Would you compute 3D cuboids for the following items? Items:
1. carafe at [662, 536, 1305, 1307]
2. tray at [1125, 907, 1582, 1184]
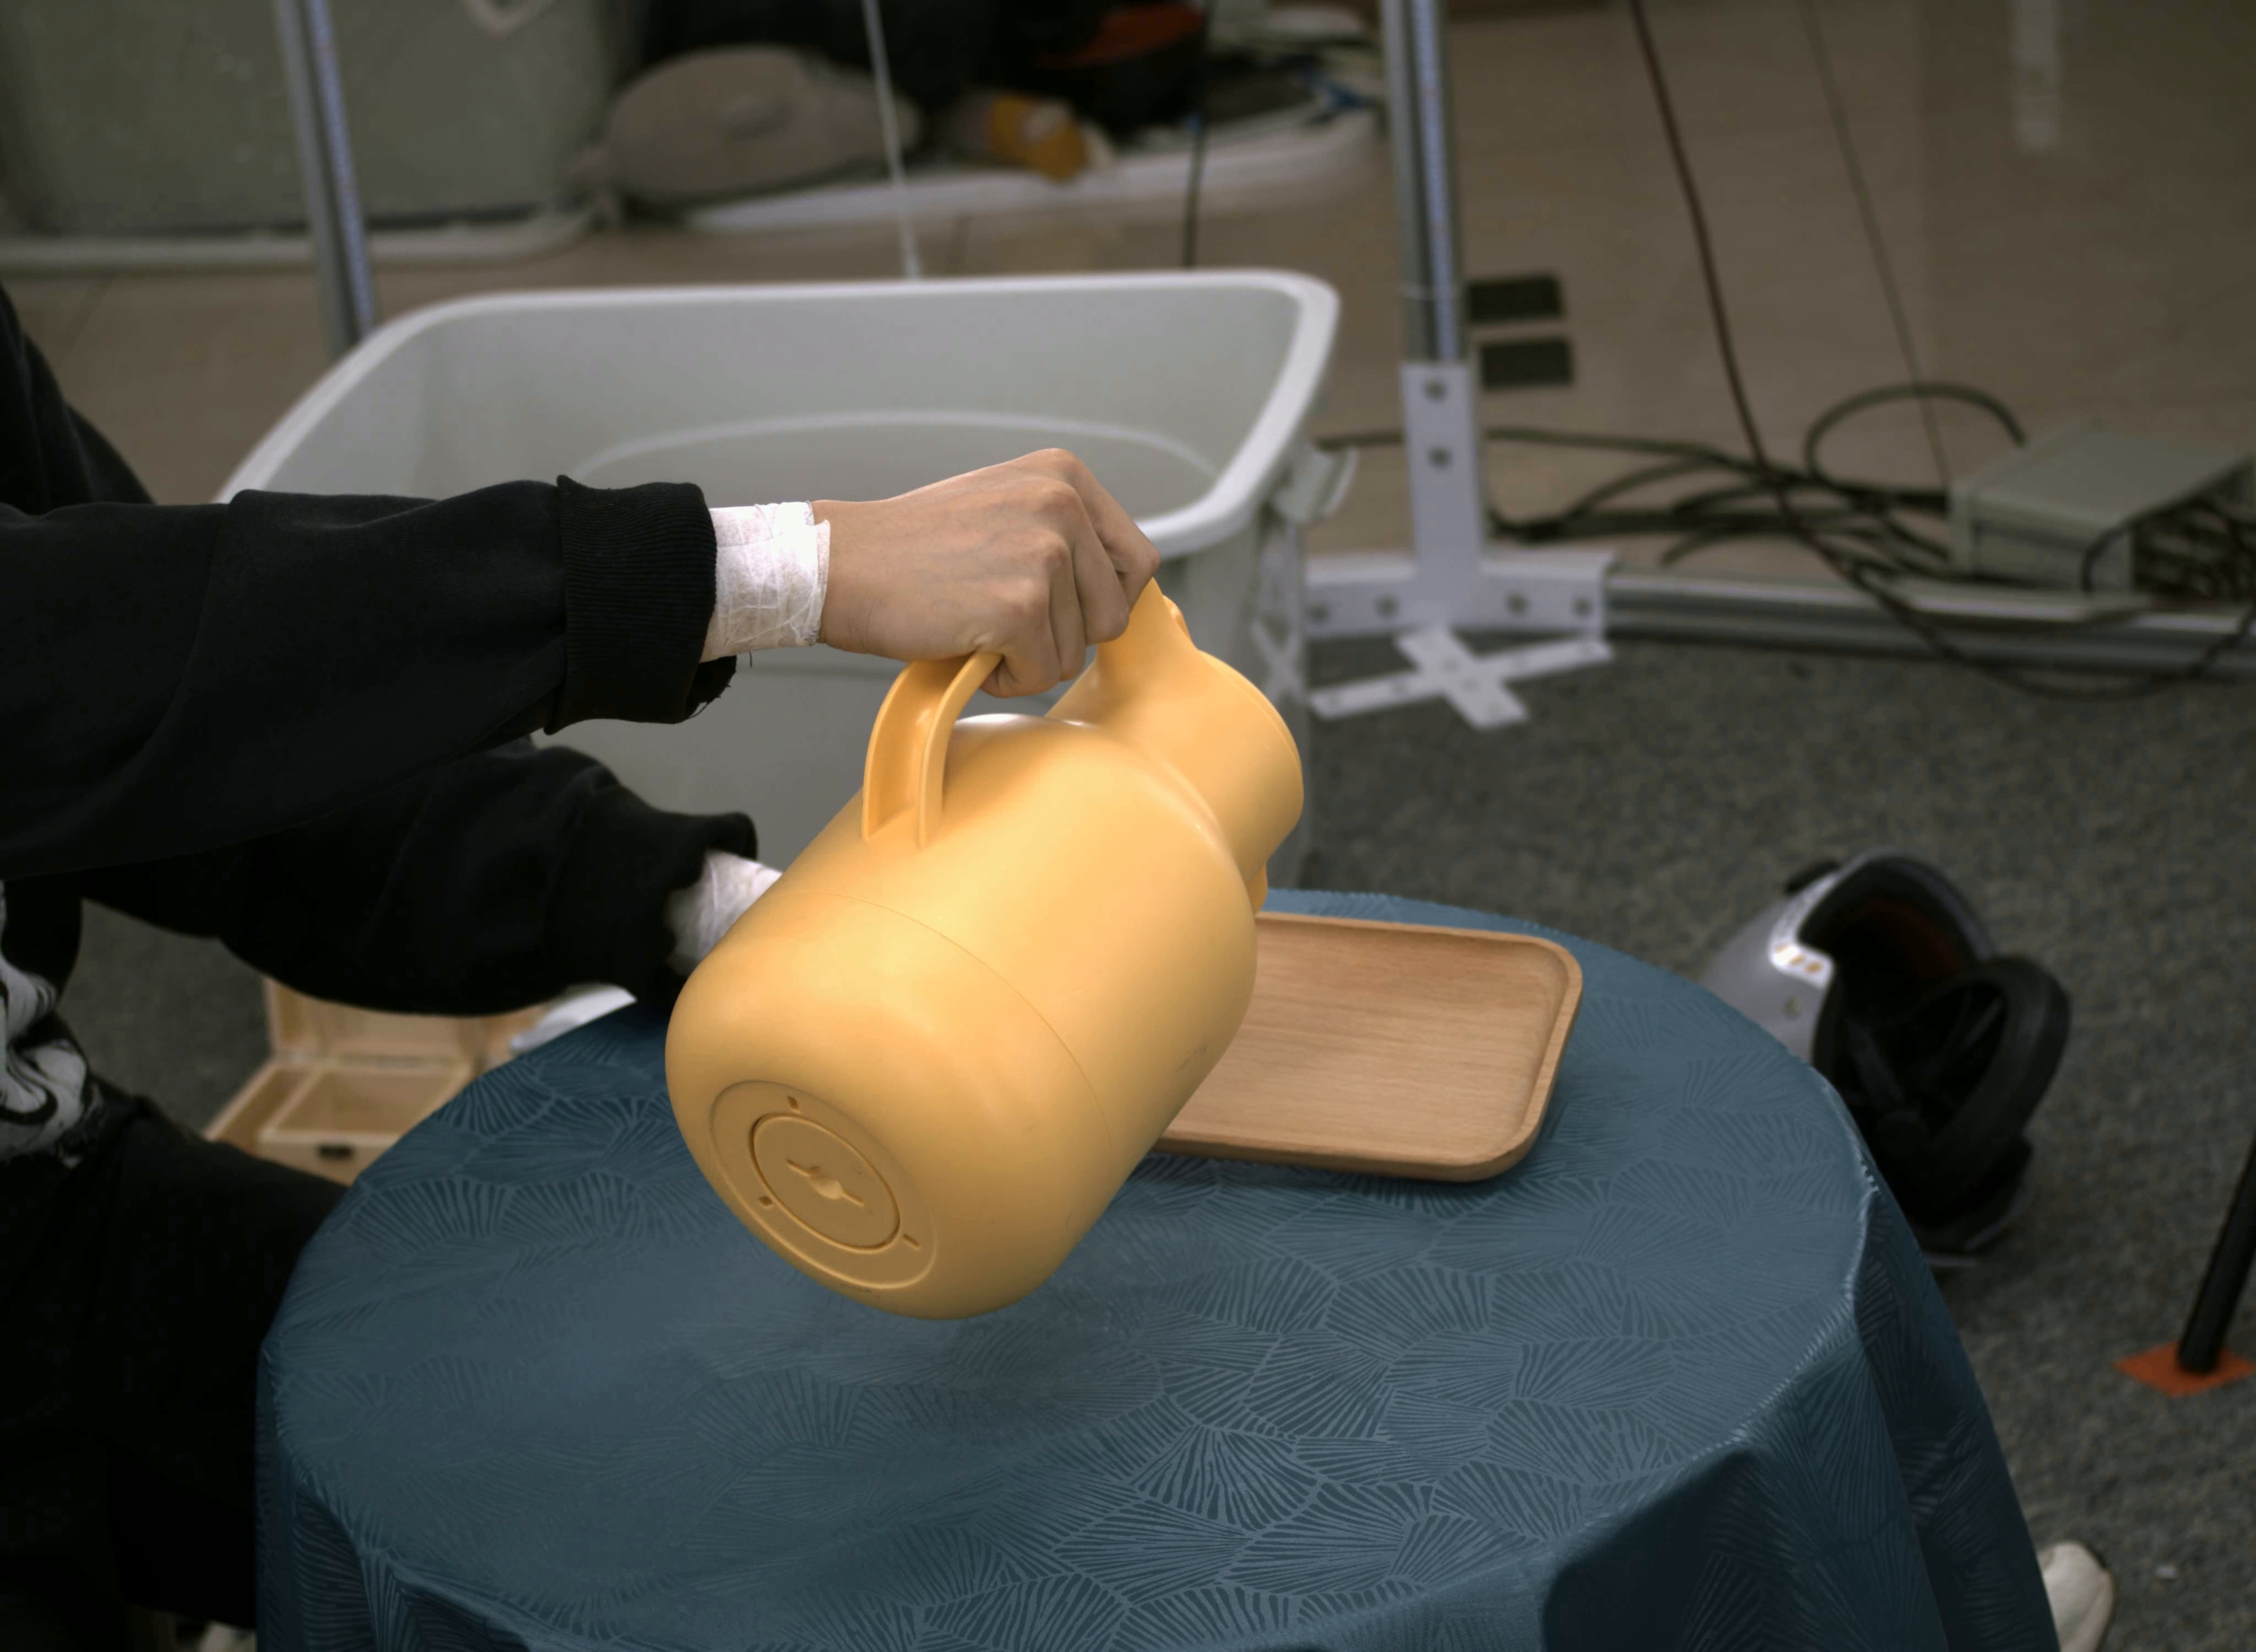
[{"bbox_3d":[-0.045,0.024,2.000,0.163,0.206,0.257,7,41,36],"label":"carafe"},{"bbox_3d":[0.046,0.081,2.194,0.250,0.023,0.128,5,43,19],"label":"tray"}]
